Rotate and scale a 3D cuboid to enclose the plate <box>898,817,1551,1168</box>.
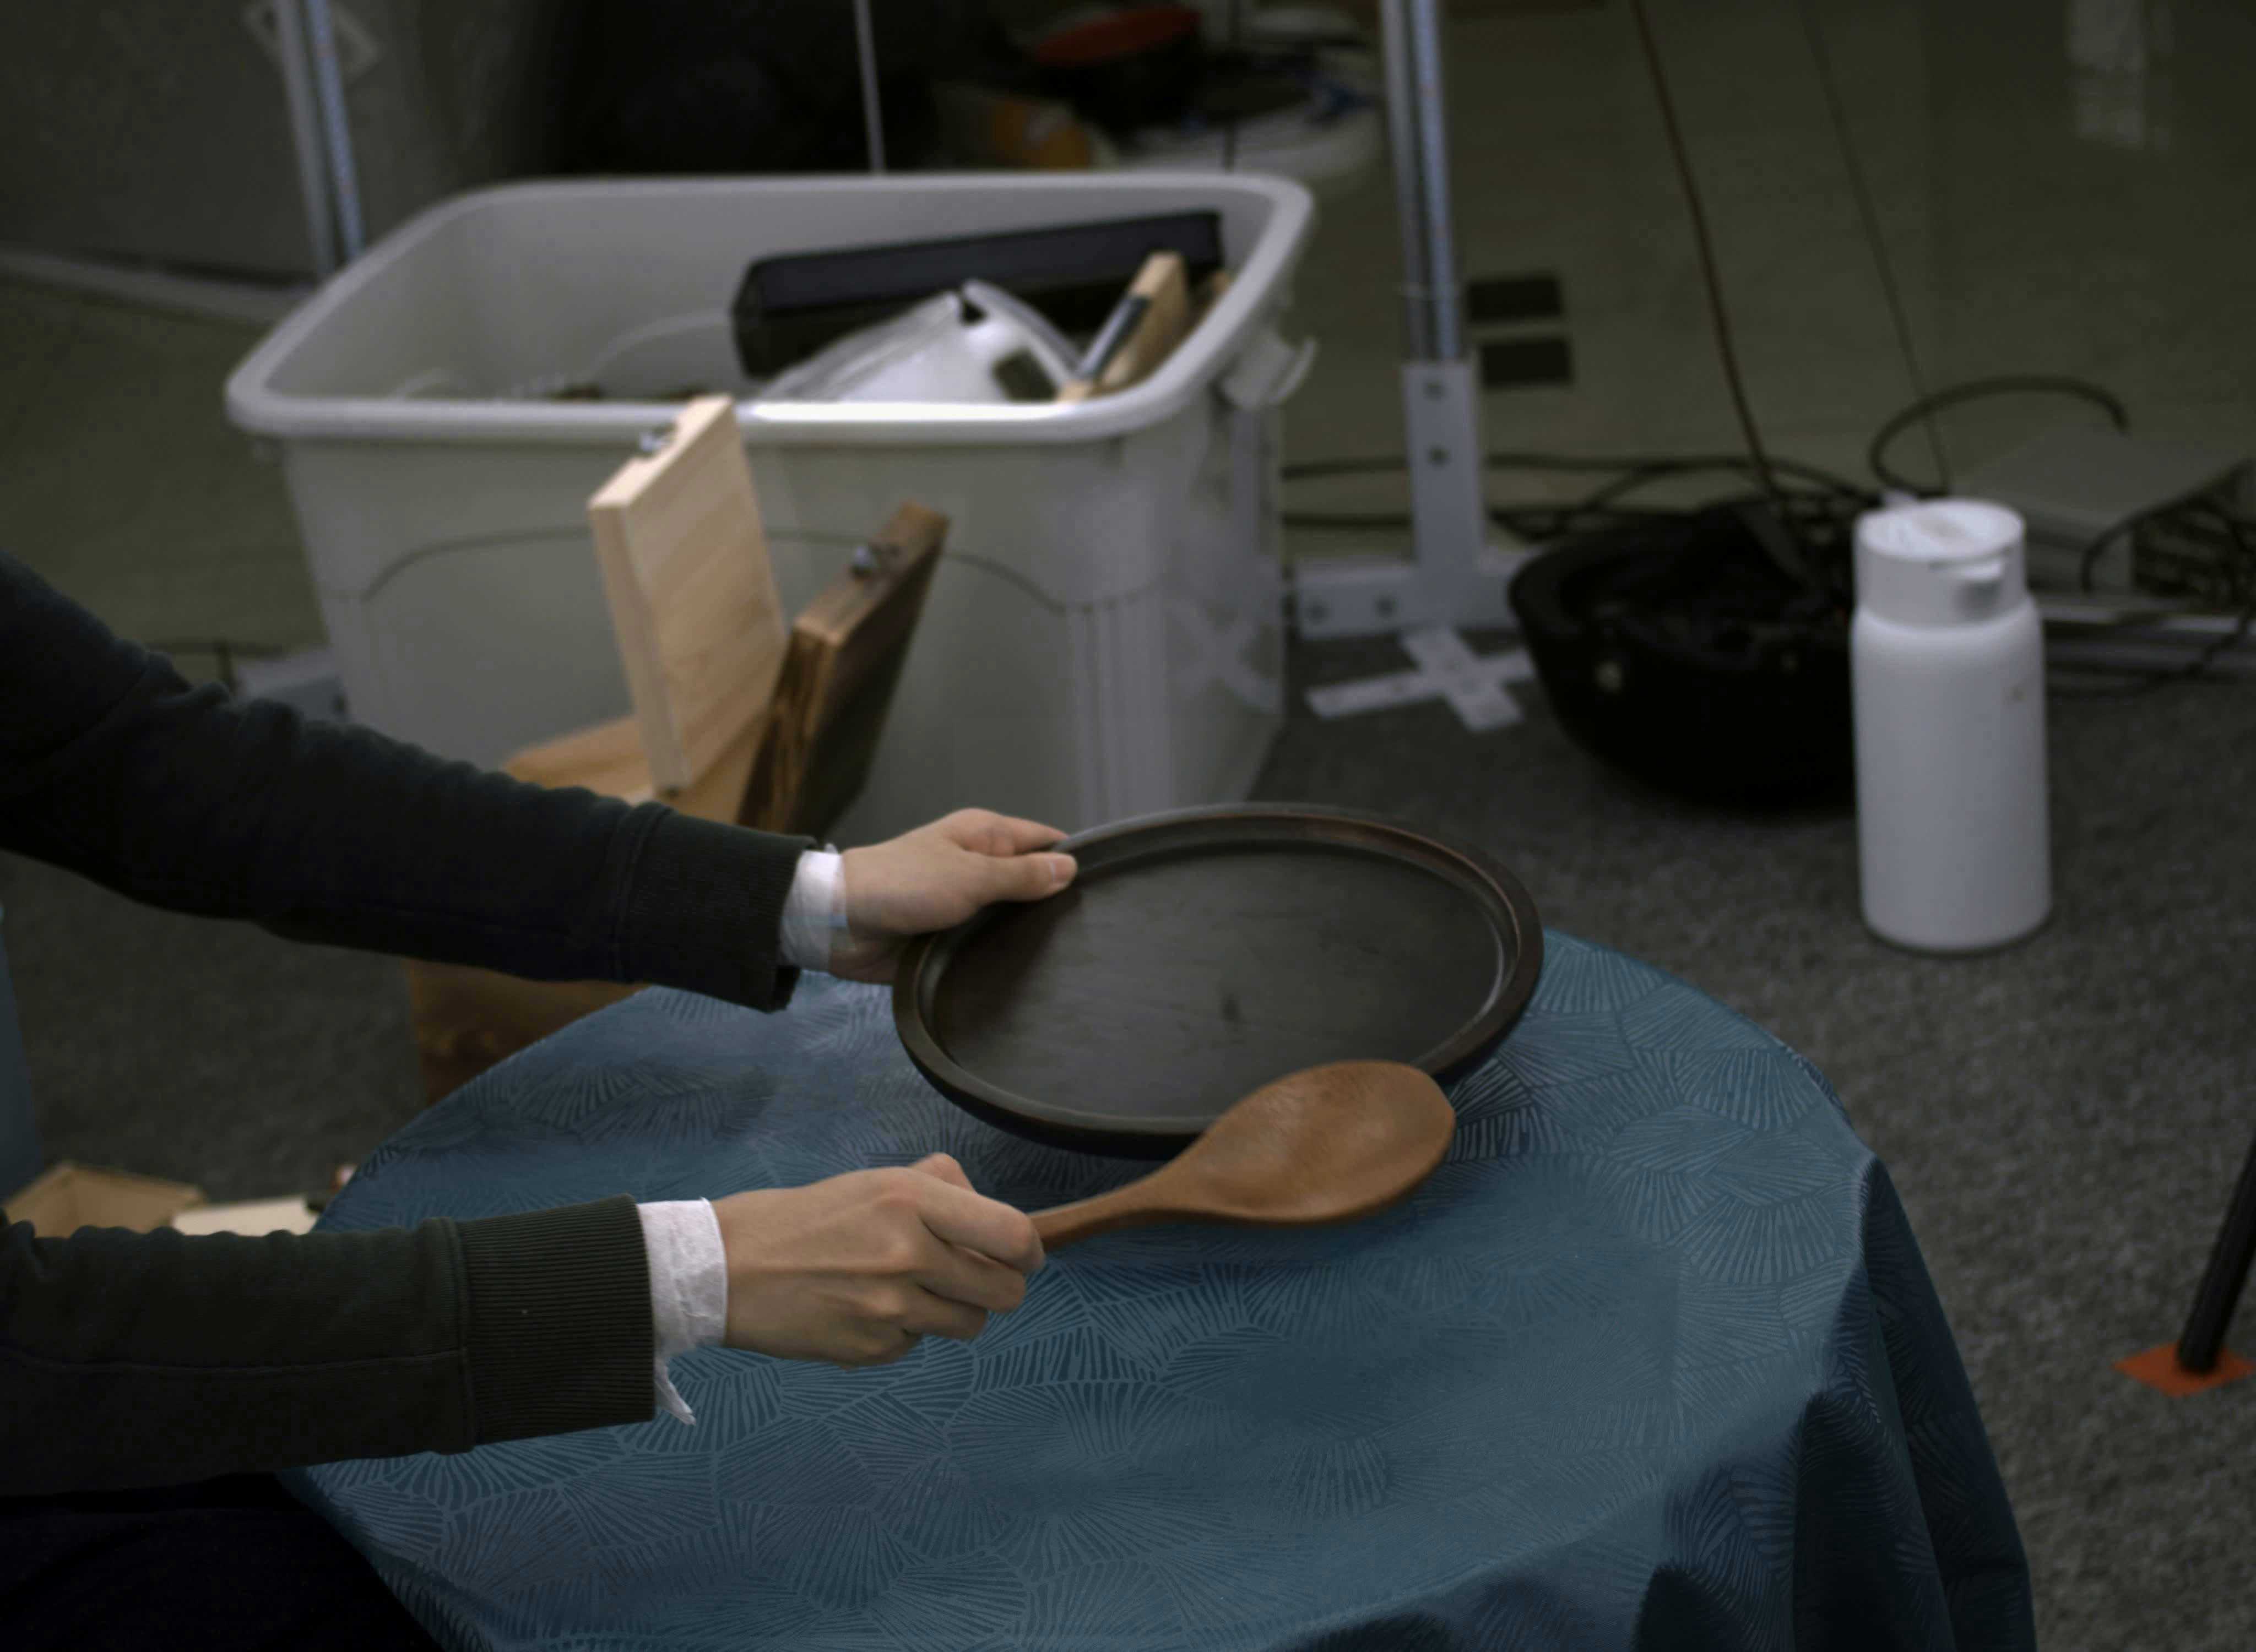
[{"bbox_3d":[0.037,0.062,2.182,0.254,0.029,0.251,-4,28,2],"label":"plate"}]

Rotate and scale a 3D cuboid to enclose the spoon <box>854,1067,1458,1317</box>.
[{"bbox_3d":[0.010,0.132,1.951,0.215,0.017,0.074,-16,42,1],"label":"spoon"}]
